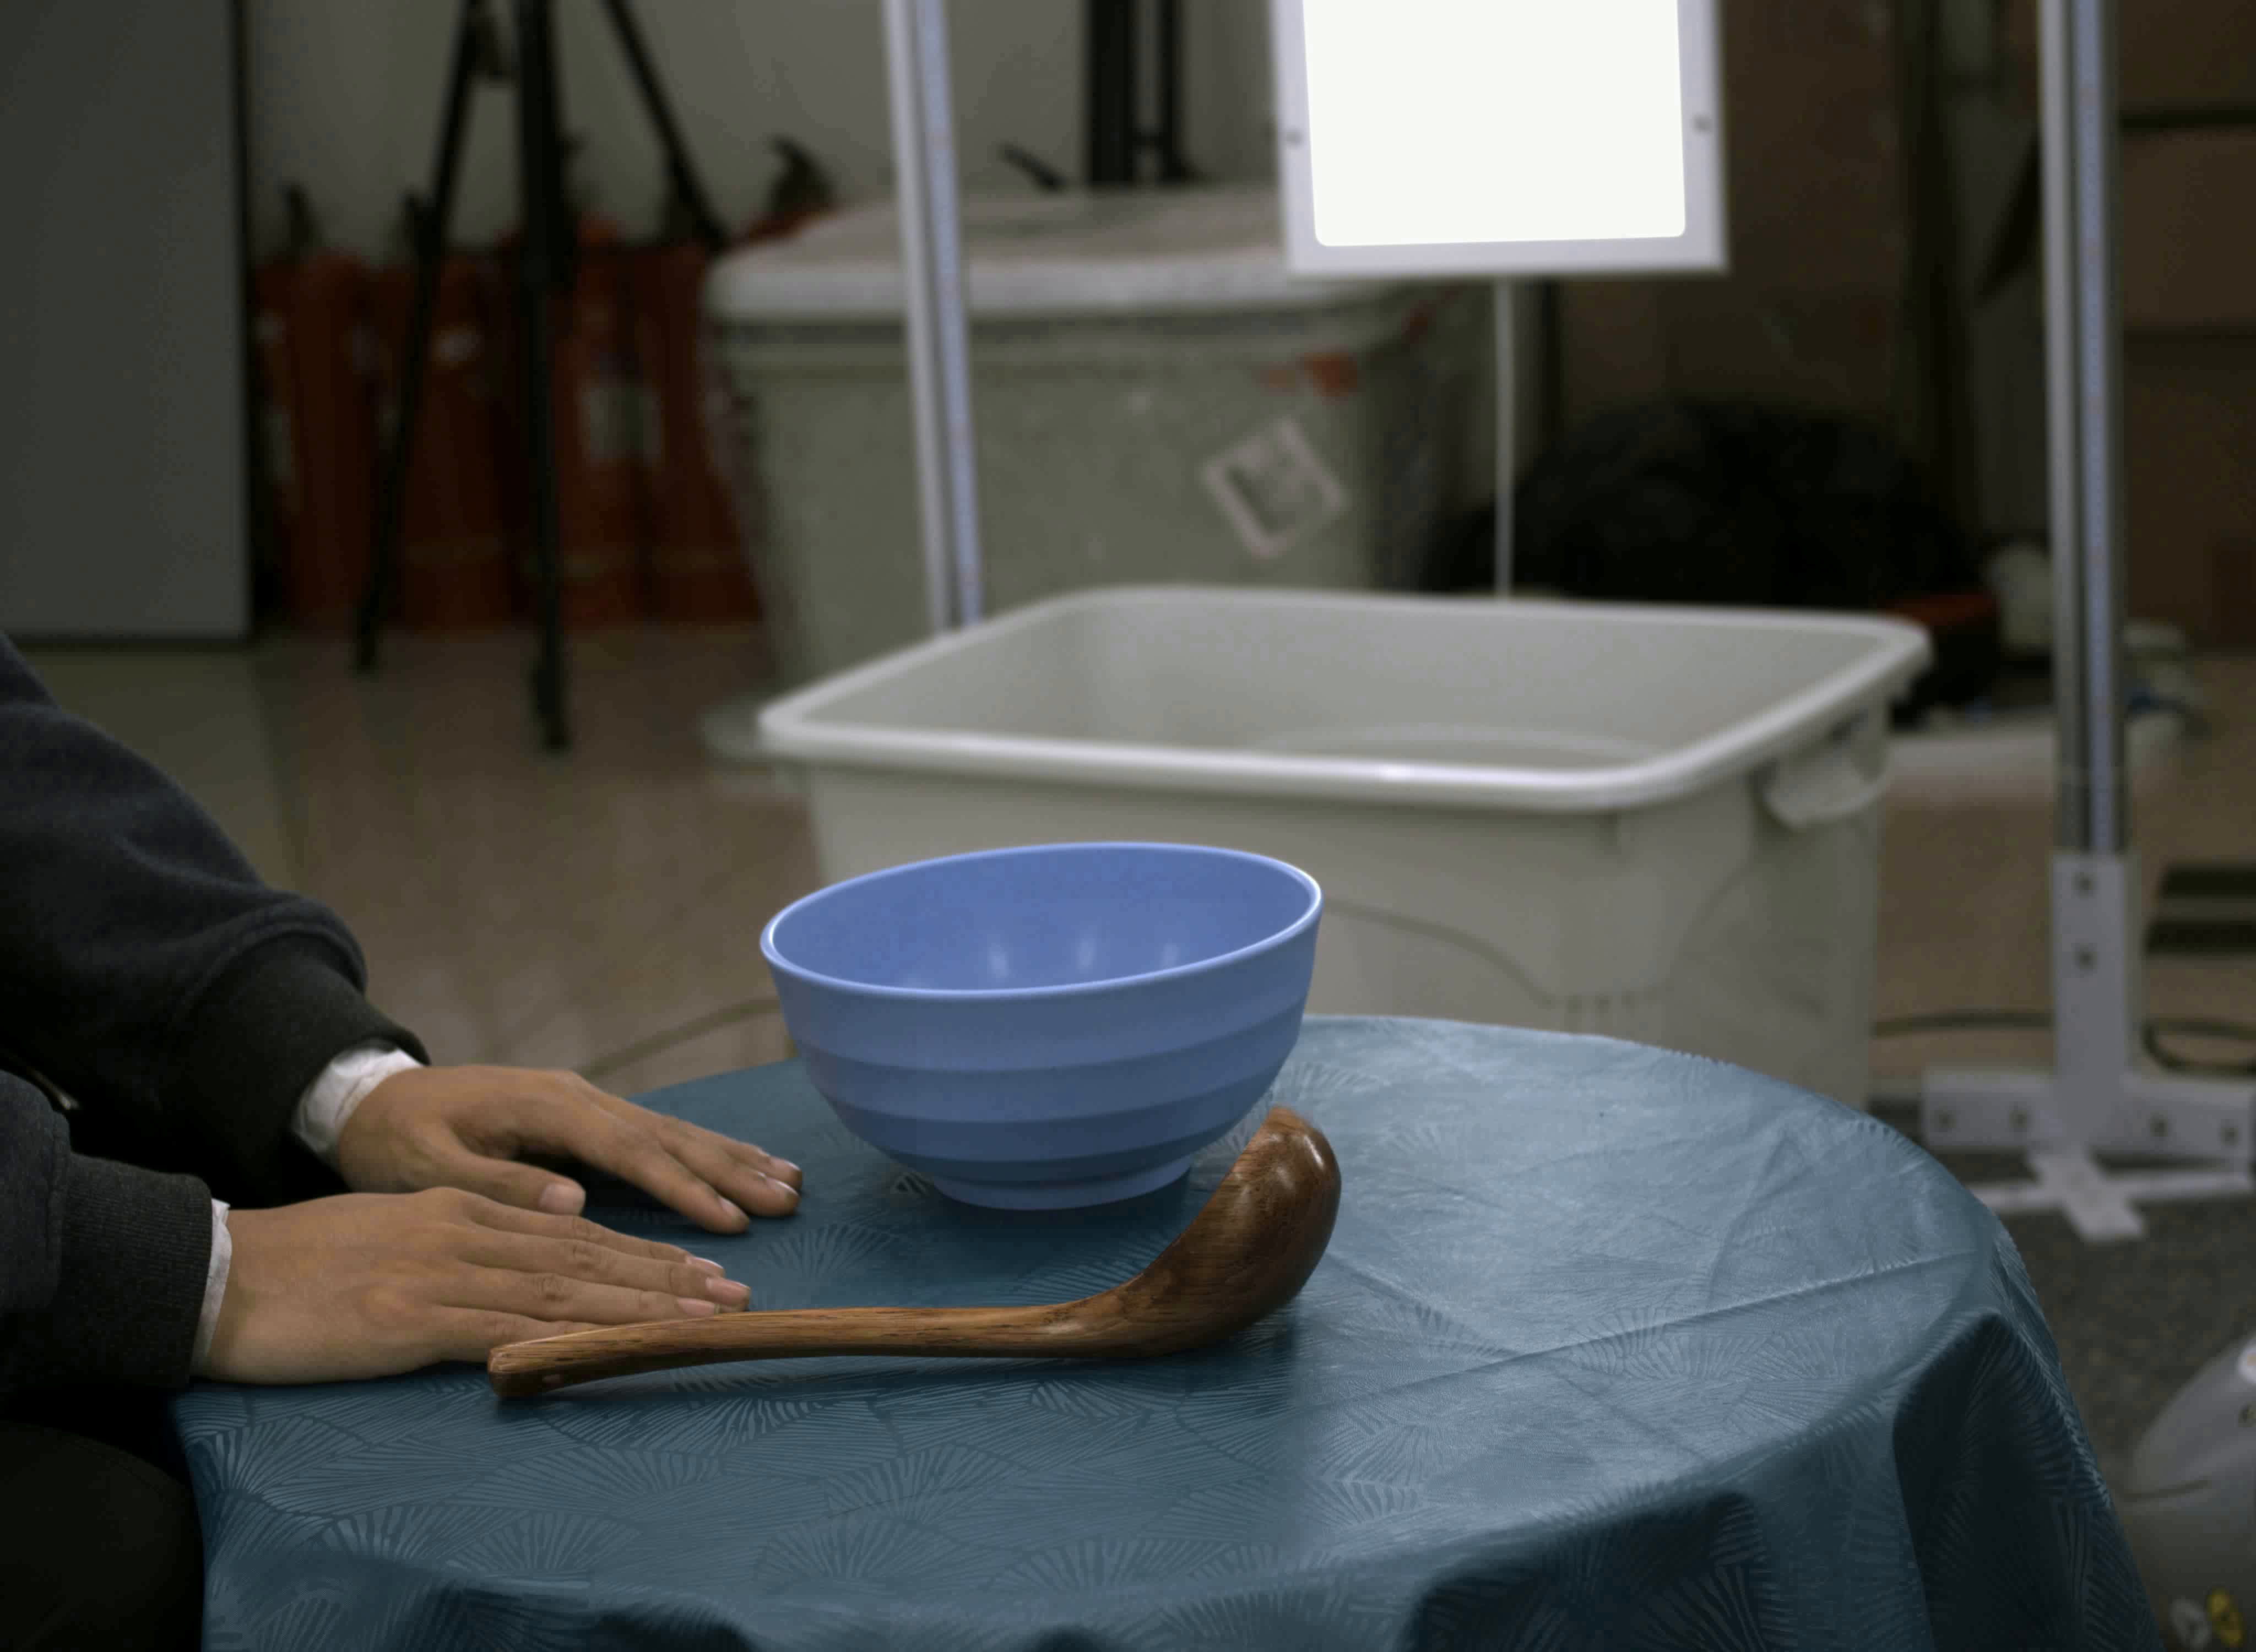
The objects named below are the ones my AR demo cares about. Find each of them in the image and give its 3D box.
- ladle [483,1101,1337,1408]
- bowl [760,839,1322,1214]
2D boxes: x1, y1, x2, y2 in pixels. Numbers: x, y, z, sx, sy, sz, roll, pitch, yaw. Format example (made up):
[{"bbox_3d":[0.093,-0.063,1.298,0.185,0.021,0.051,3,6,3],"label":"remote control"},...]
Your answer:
[{"bbox_3d":[-0.069,0.134,1.742,0.275,0.076,0.082,-5,-26,7],"label":"ladle"},{"bbox_3d":[-0.026,0.076,1.917,0.196,0.096,0.196,-6,14,0],"label":"bowl"}]
